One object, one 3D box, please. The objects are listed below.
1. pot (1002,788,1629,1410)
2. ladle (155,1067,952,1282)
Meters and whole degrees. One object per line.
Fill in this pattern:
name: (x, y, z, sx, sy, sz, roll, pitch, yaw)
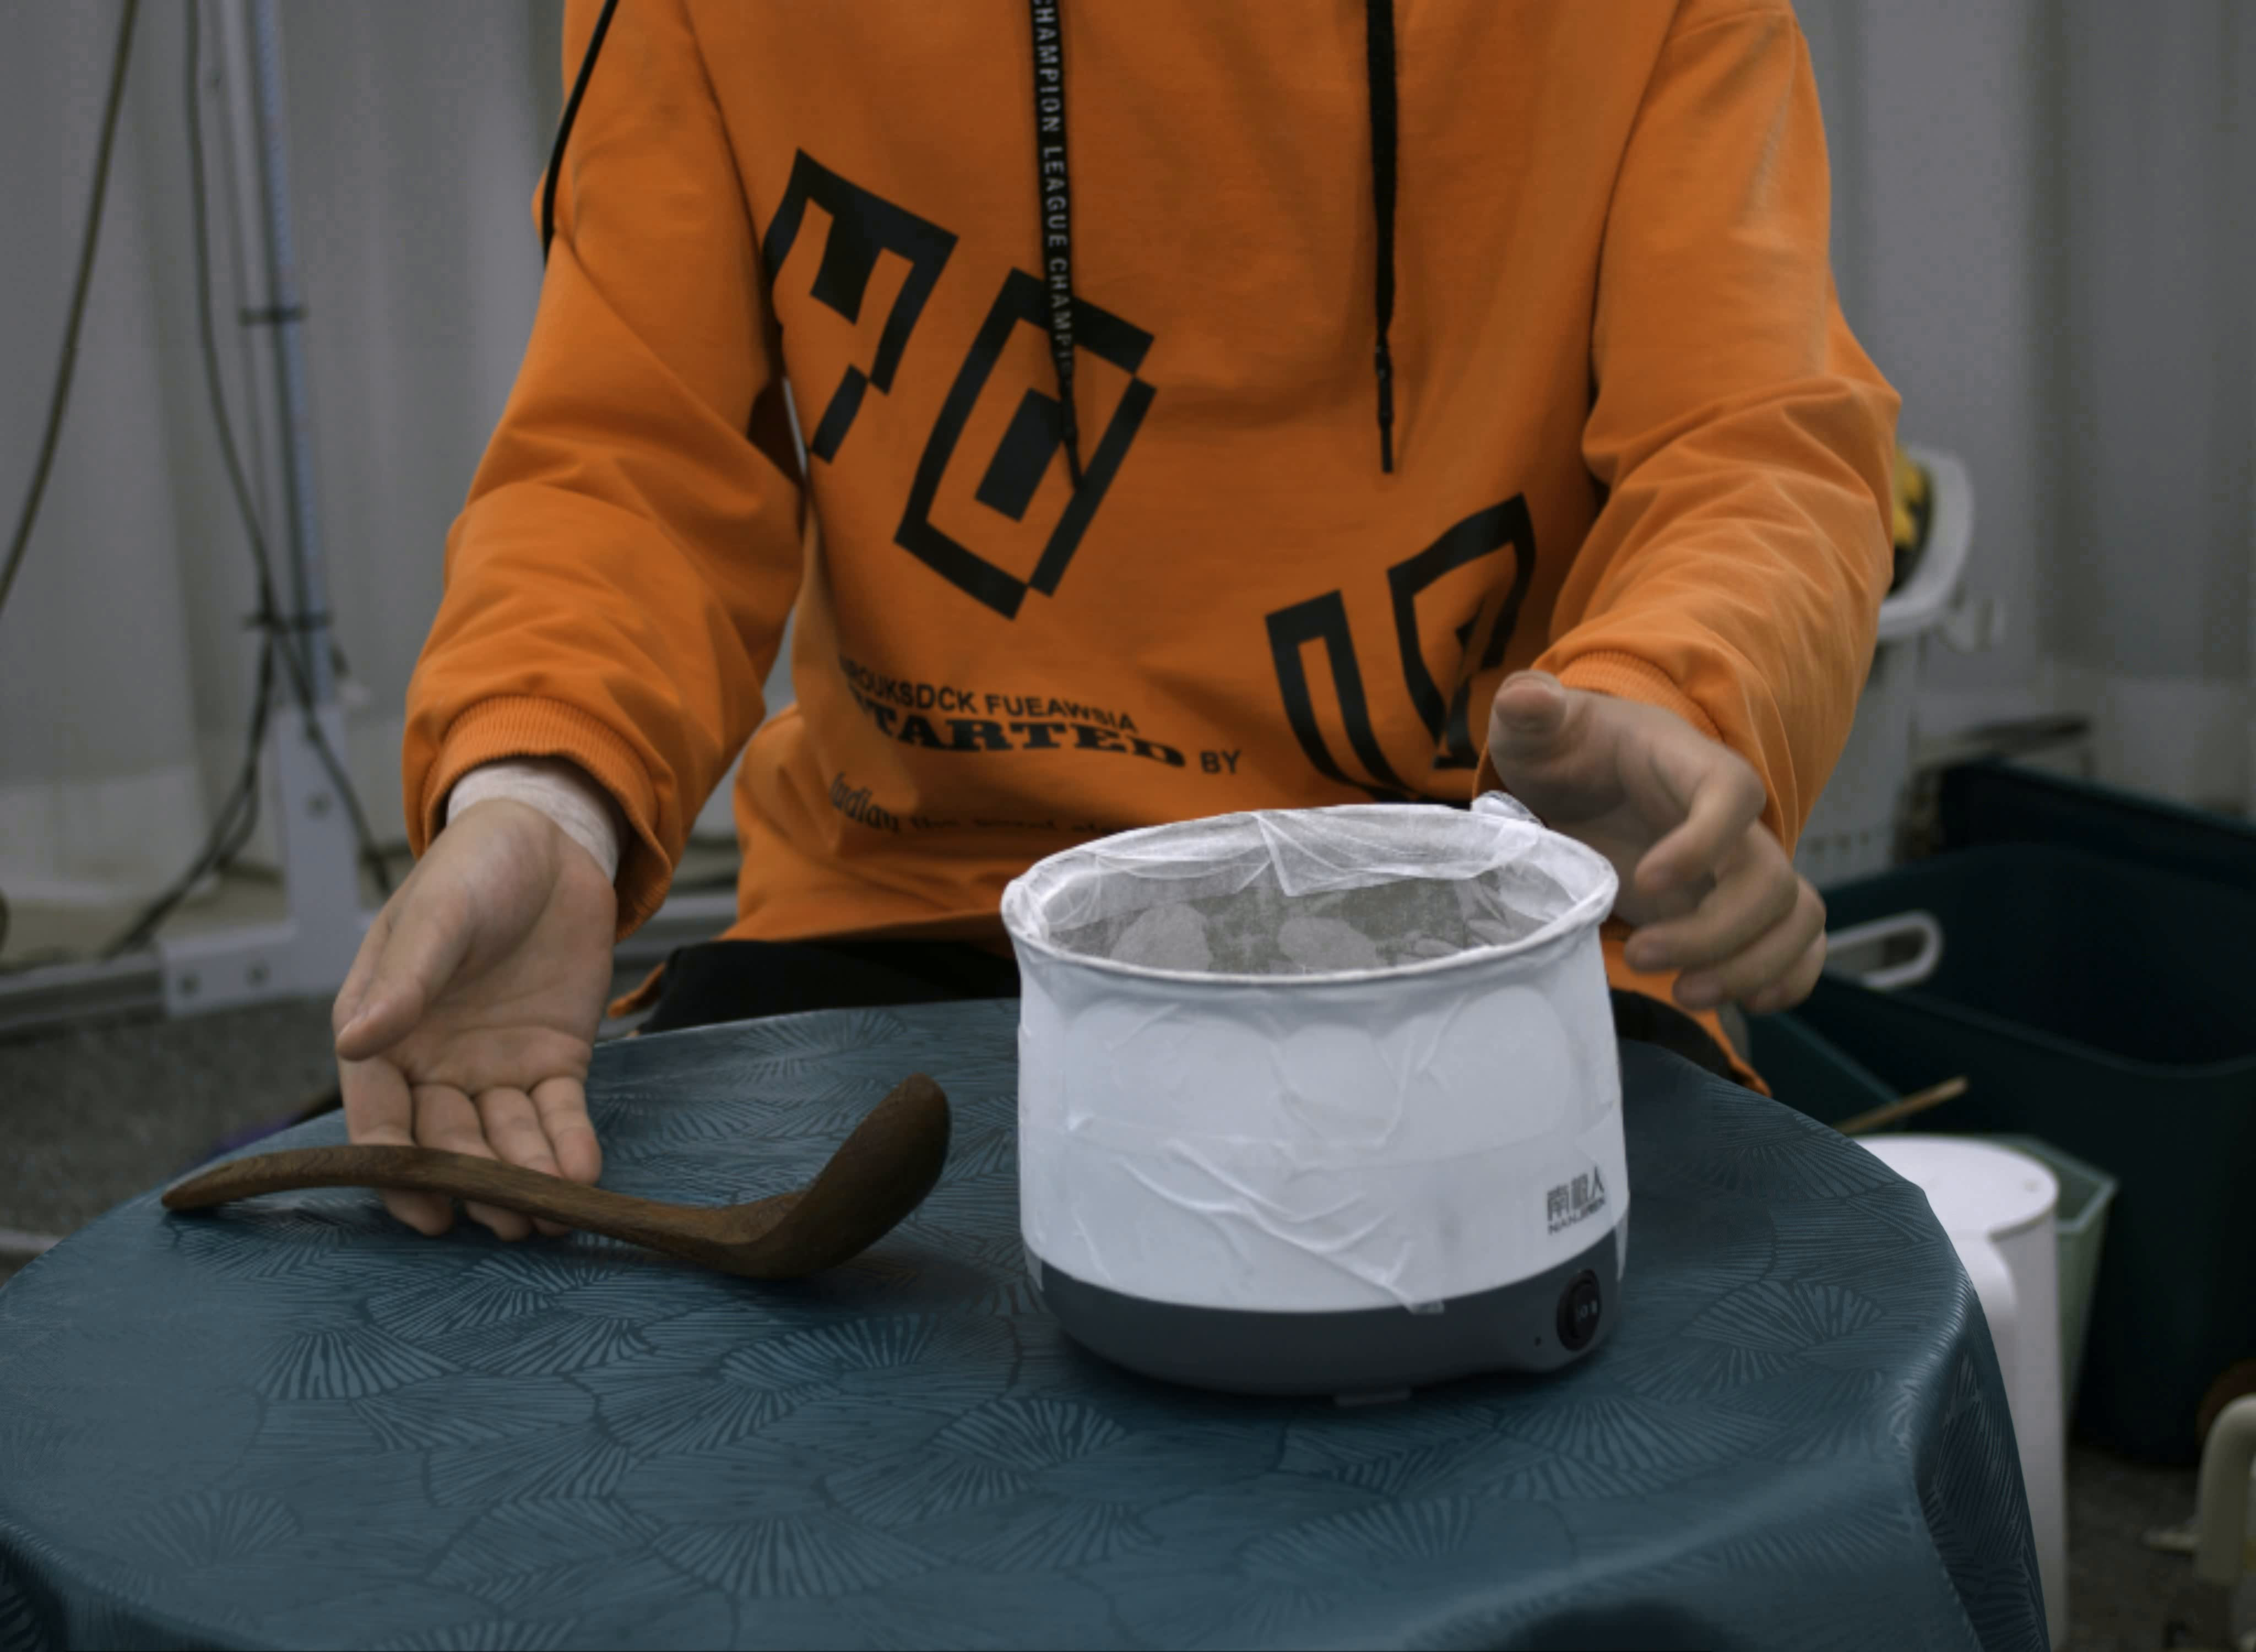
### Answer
pot: (0.071, 0.072, 1.597, 0.179, 0.136, 0.234, 8, 19, 34)
ladle: (-0.181, 0.096, 1.683, 0.274, 0.071, 0.076, 5, 15, 24)
